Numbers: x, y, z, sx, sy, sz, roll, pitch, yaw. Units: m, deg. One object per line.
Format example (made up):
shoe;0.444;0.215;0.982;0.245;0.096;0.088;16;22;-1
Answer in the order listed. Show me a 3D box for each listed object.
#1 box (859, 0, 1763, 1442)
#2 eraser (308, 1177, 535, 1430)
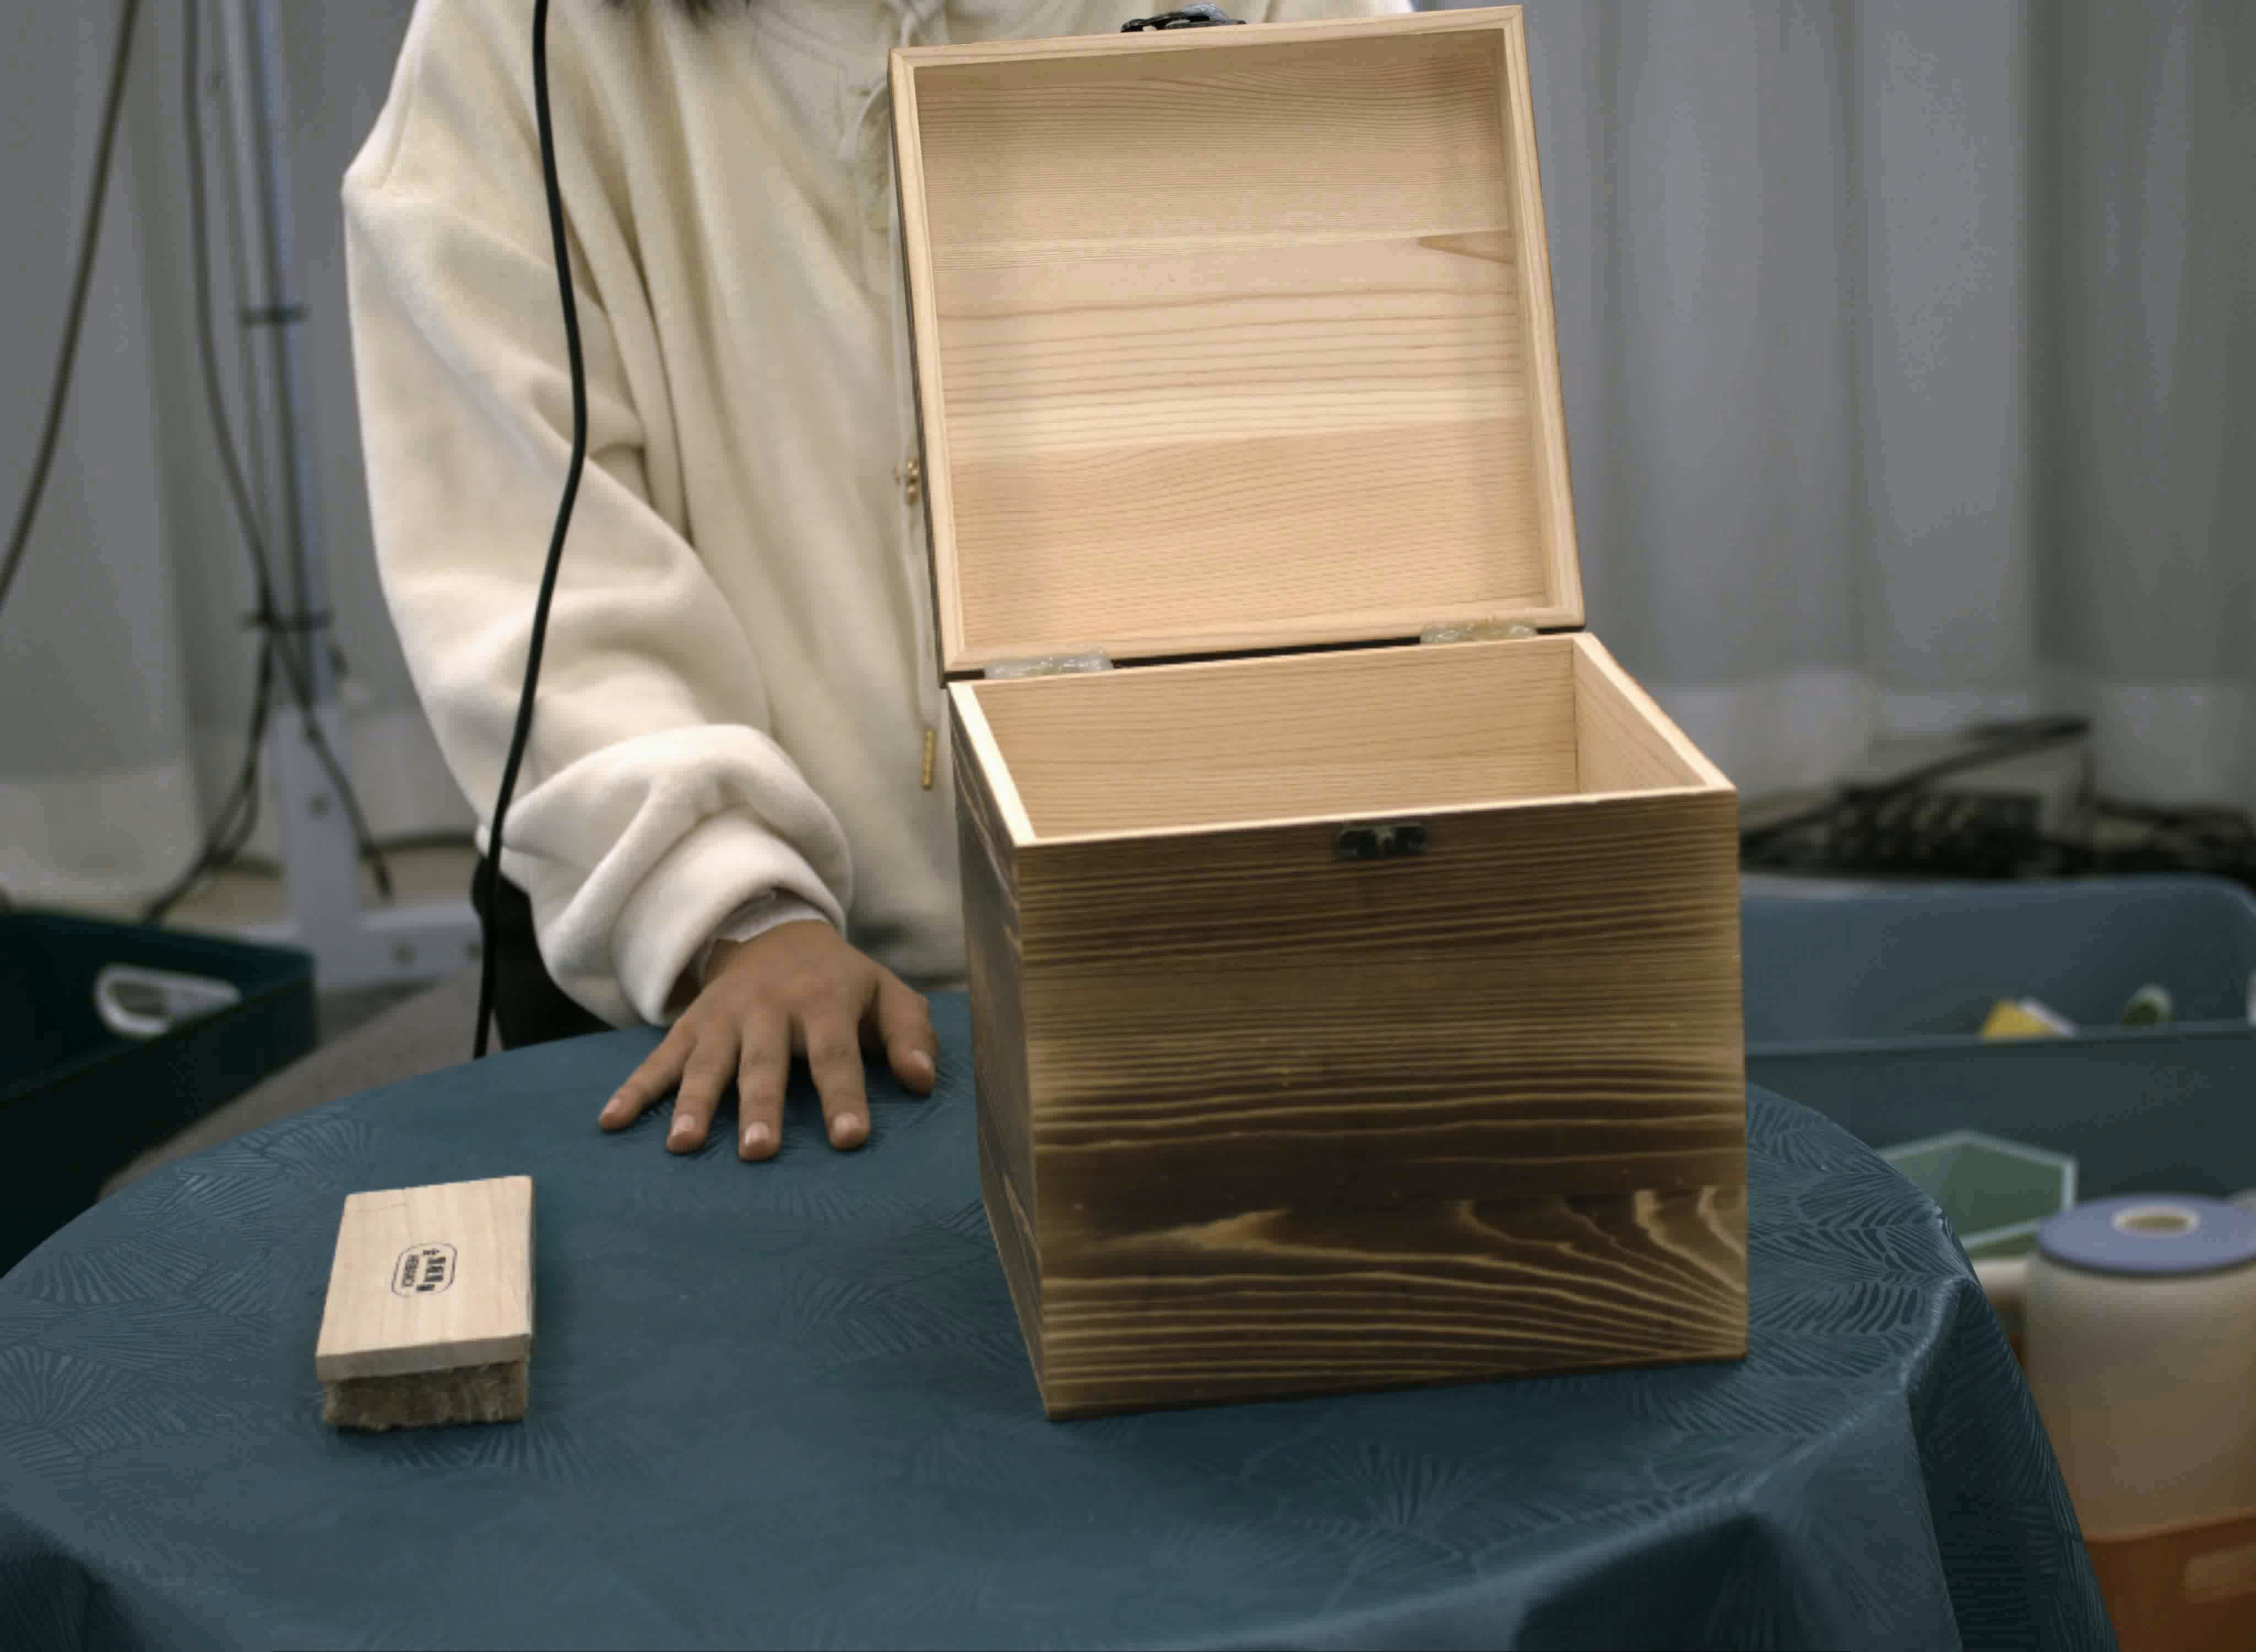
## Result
box;0.047;-0.053;1.634;0.208;0.374;0.324;-5;14;-6
eraser;-0.204;0.140;1.603;0.057;0.029;0.140;-7;14;-1
